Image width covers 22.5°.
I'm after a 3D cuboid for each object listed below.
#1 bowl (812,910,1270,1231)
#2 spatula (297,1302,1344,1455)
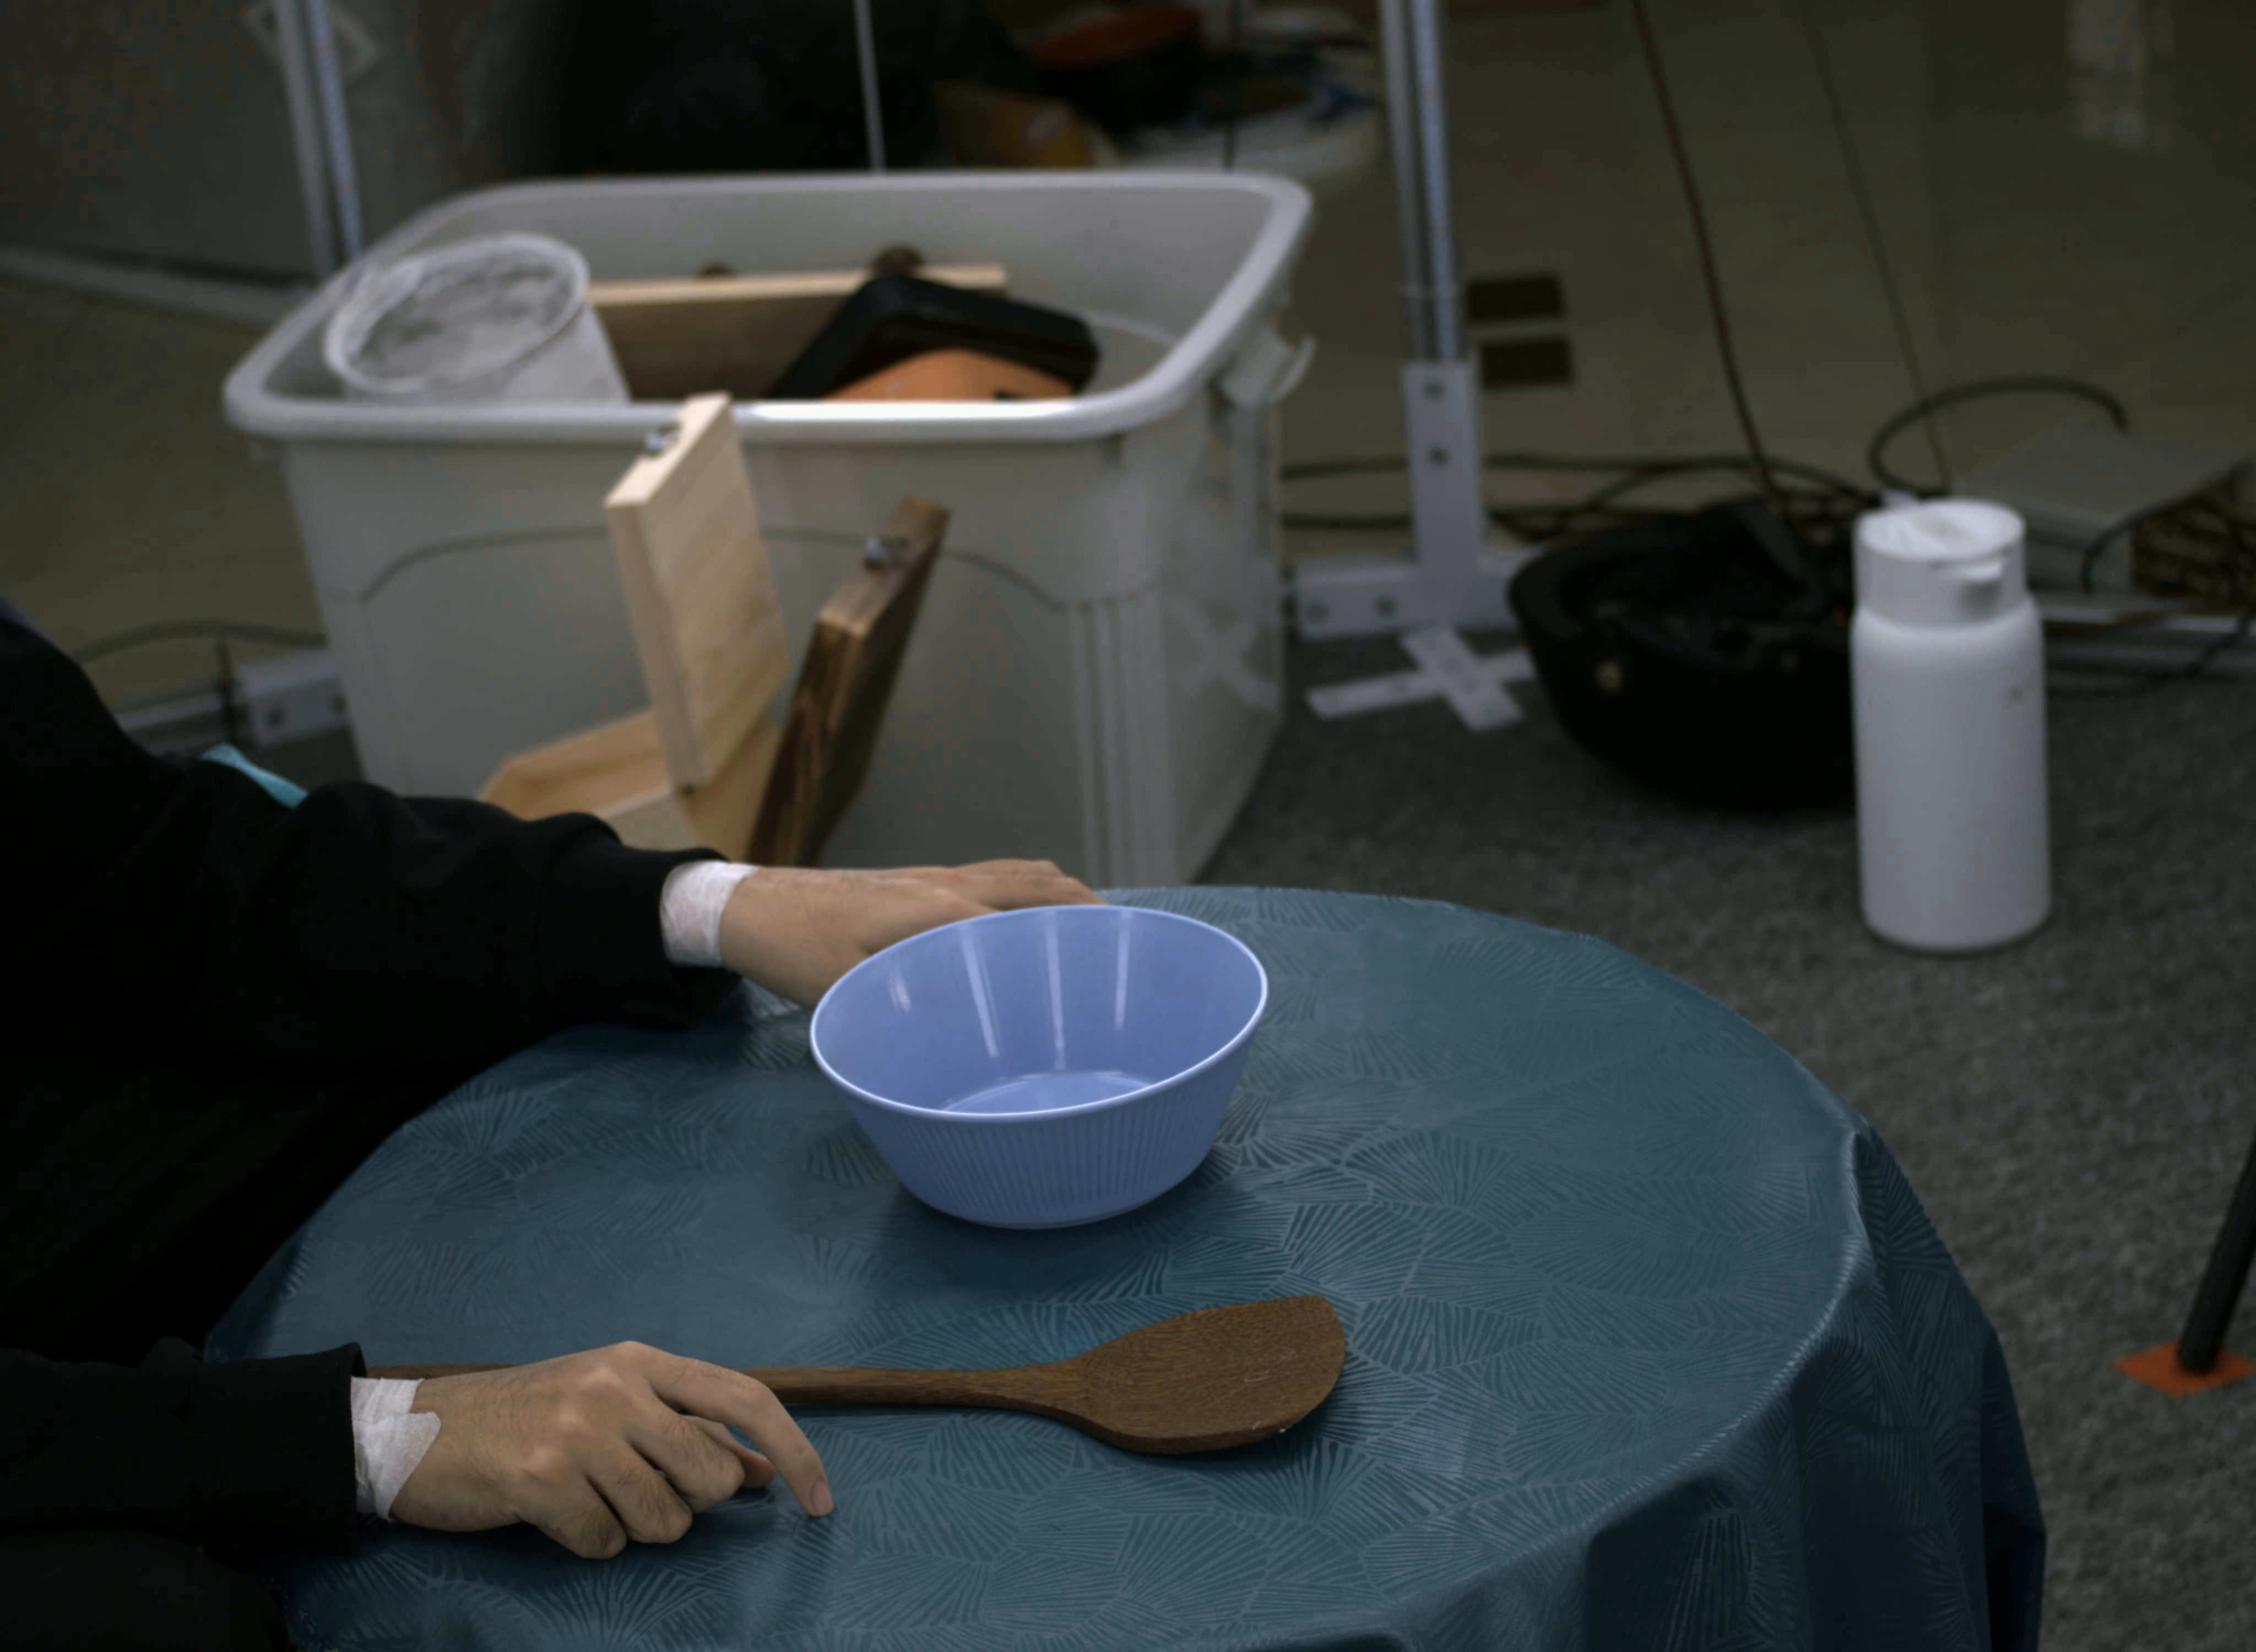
[{"bbox_3d":[-0.029,0.099,2.163,0.176,0.071,0.173,-6,24,3],"label":"bowl"},{"bbox_3d":[-0.114,0.201,2.032,0.385,0.016,0.095,-2,25,10],"label":"spatula"}]
